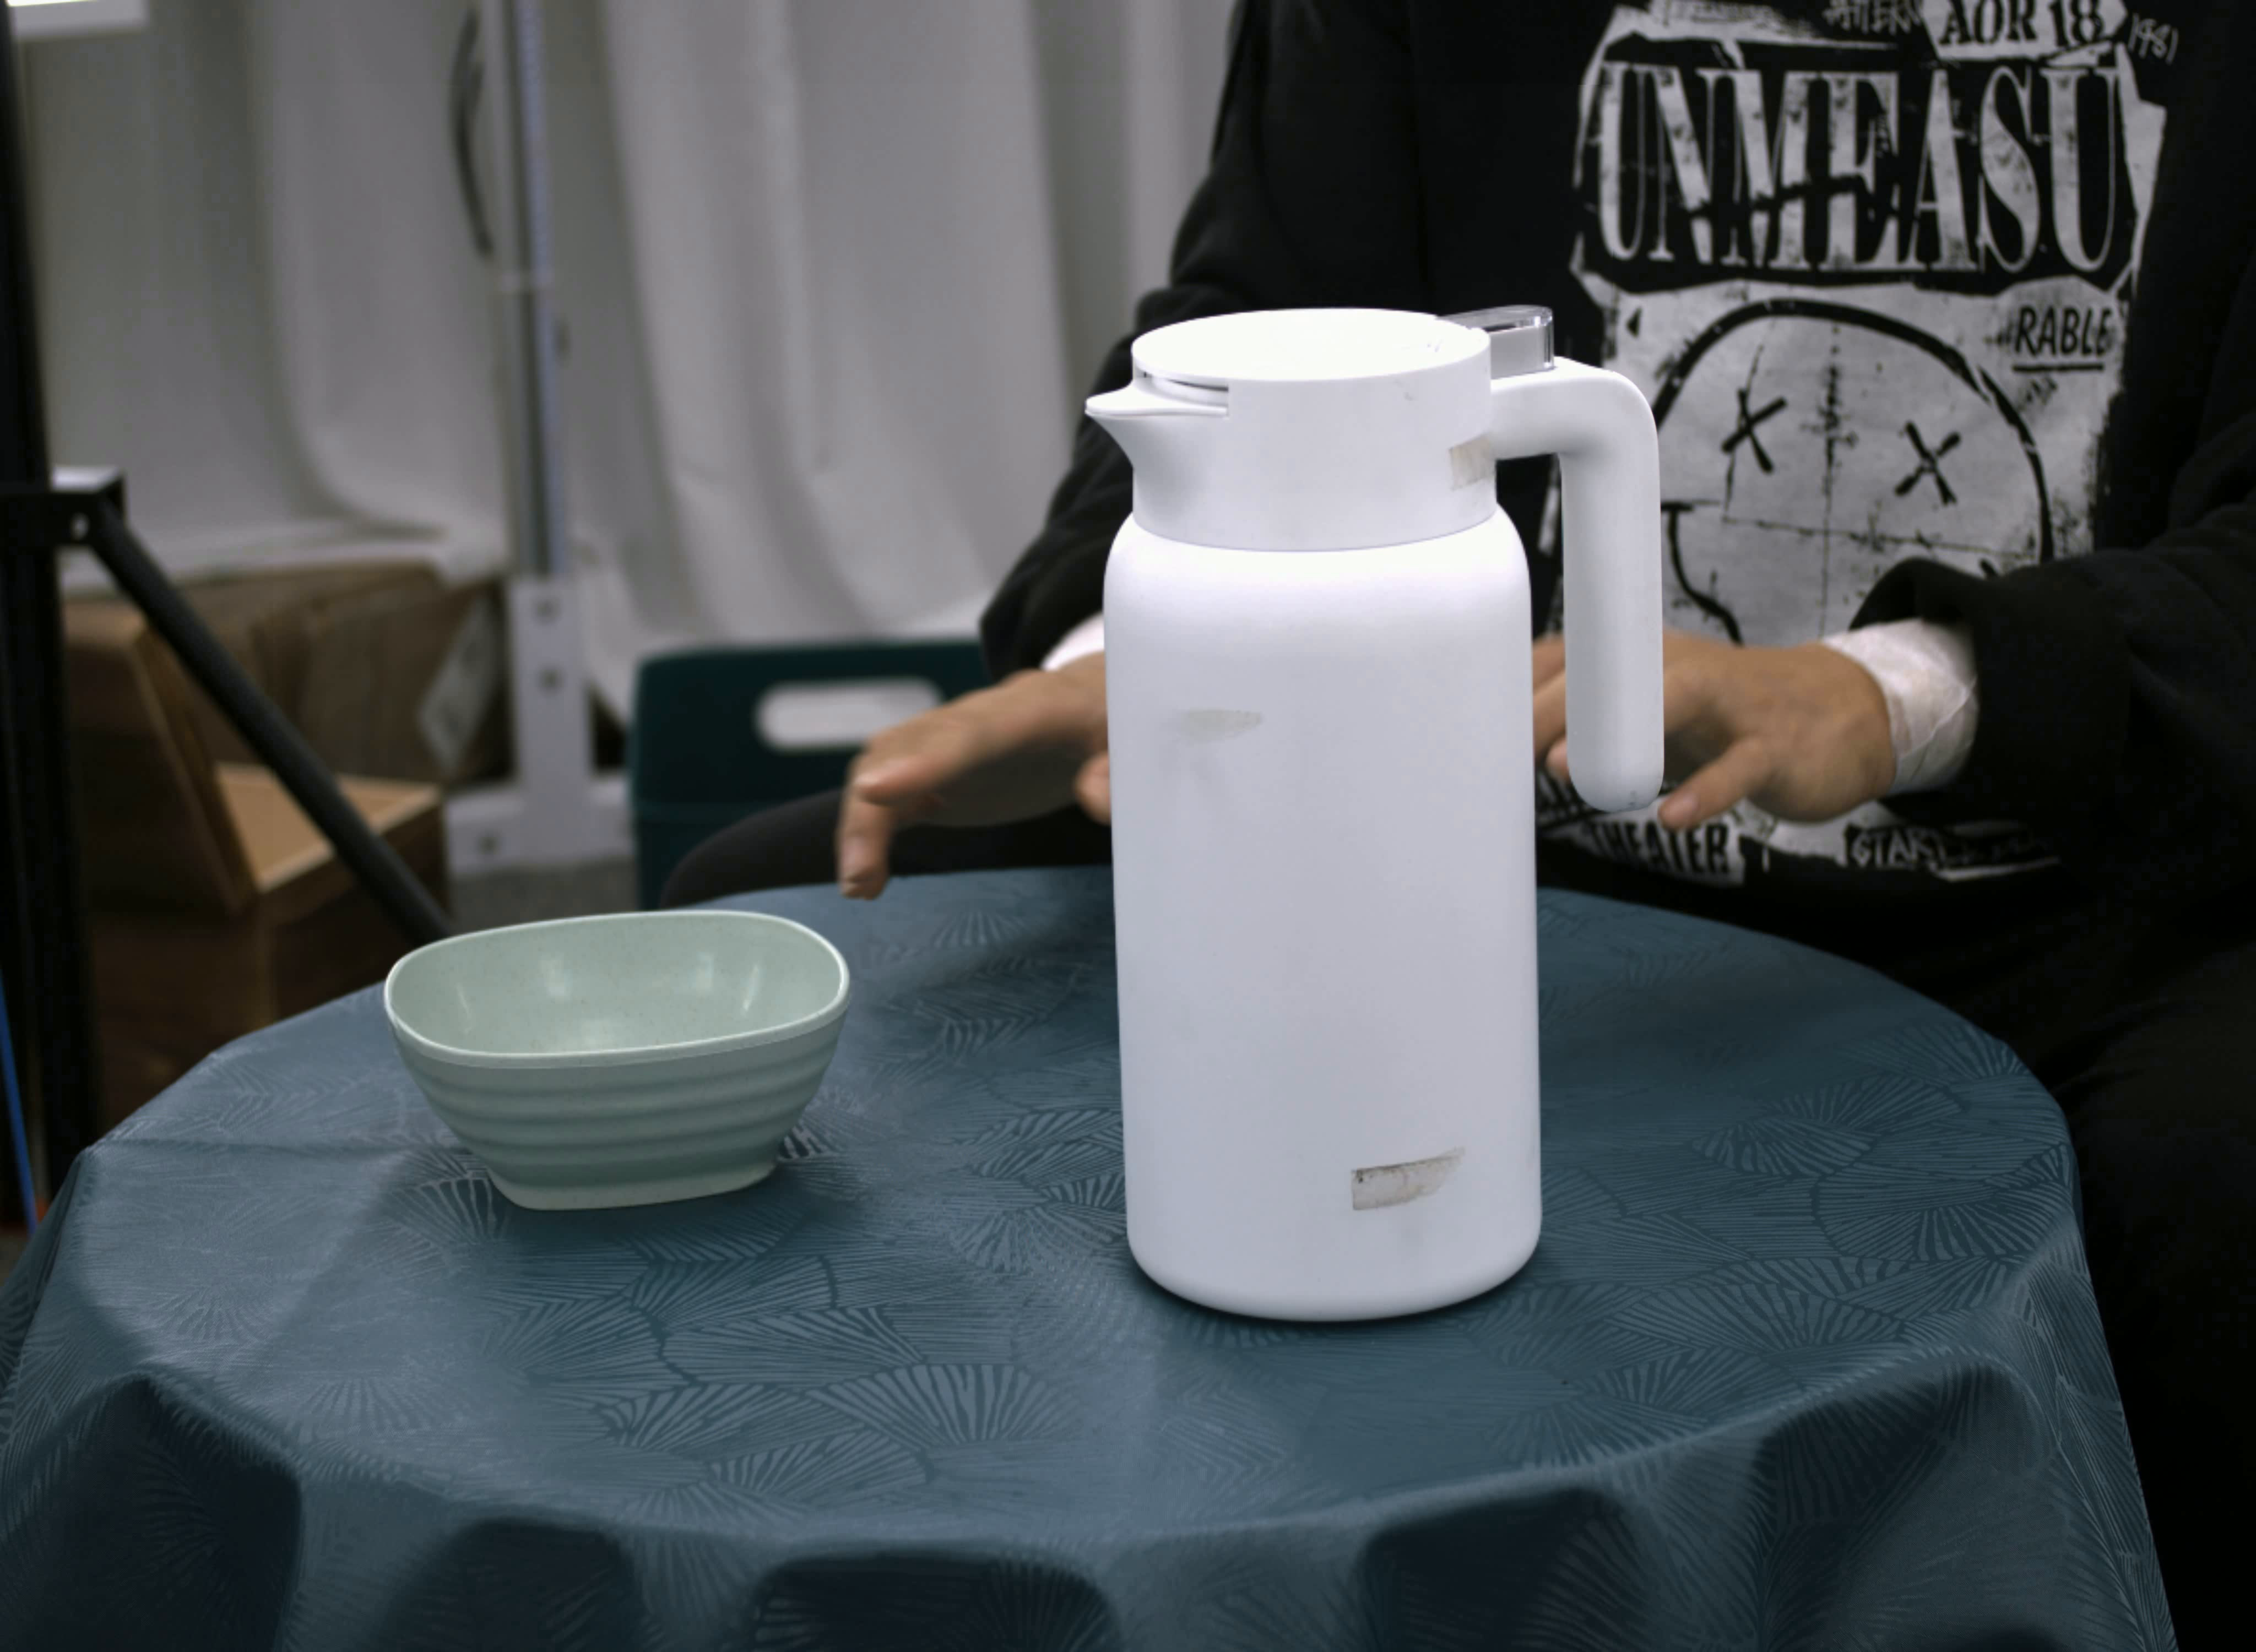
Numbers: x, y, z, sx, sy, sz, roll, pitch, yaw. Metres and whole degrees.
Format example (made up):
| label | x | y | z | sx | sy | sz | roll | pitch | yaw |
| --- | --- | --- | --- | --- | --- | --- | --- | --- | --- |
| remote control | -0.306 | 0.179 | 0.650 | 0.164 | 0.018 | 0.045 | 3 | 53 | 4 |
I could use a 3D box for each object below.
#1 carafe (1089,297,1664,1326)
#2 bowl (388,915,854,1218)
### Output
| label | x | y | z | sx | sy | sz | roll | pitch | yaw |
| --- | --- | --- | --- | --- | --- | --- | --- | --- | --- |
| carafe | 0.069 | -0.008 | 1.465 | 0.169 | 0.269 | 0.126 | -10 | 15 | -27 |
| bowl | -0.150 | 0.075 | 1.599 | 0.150 | 0.058 | 0.152 | -3 | 16 | -1 |
